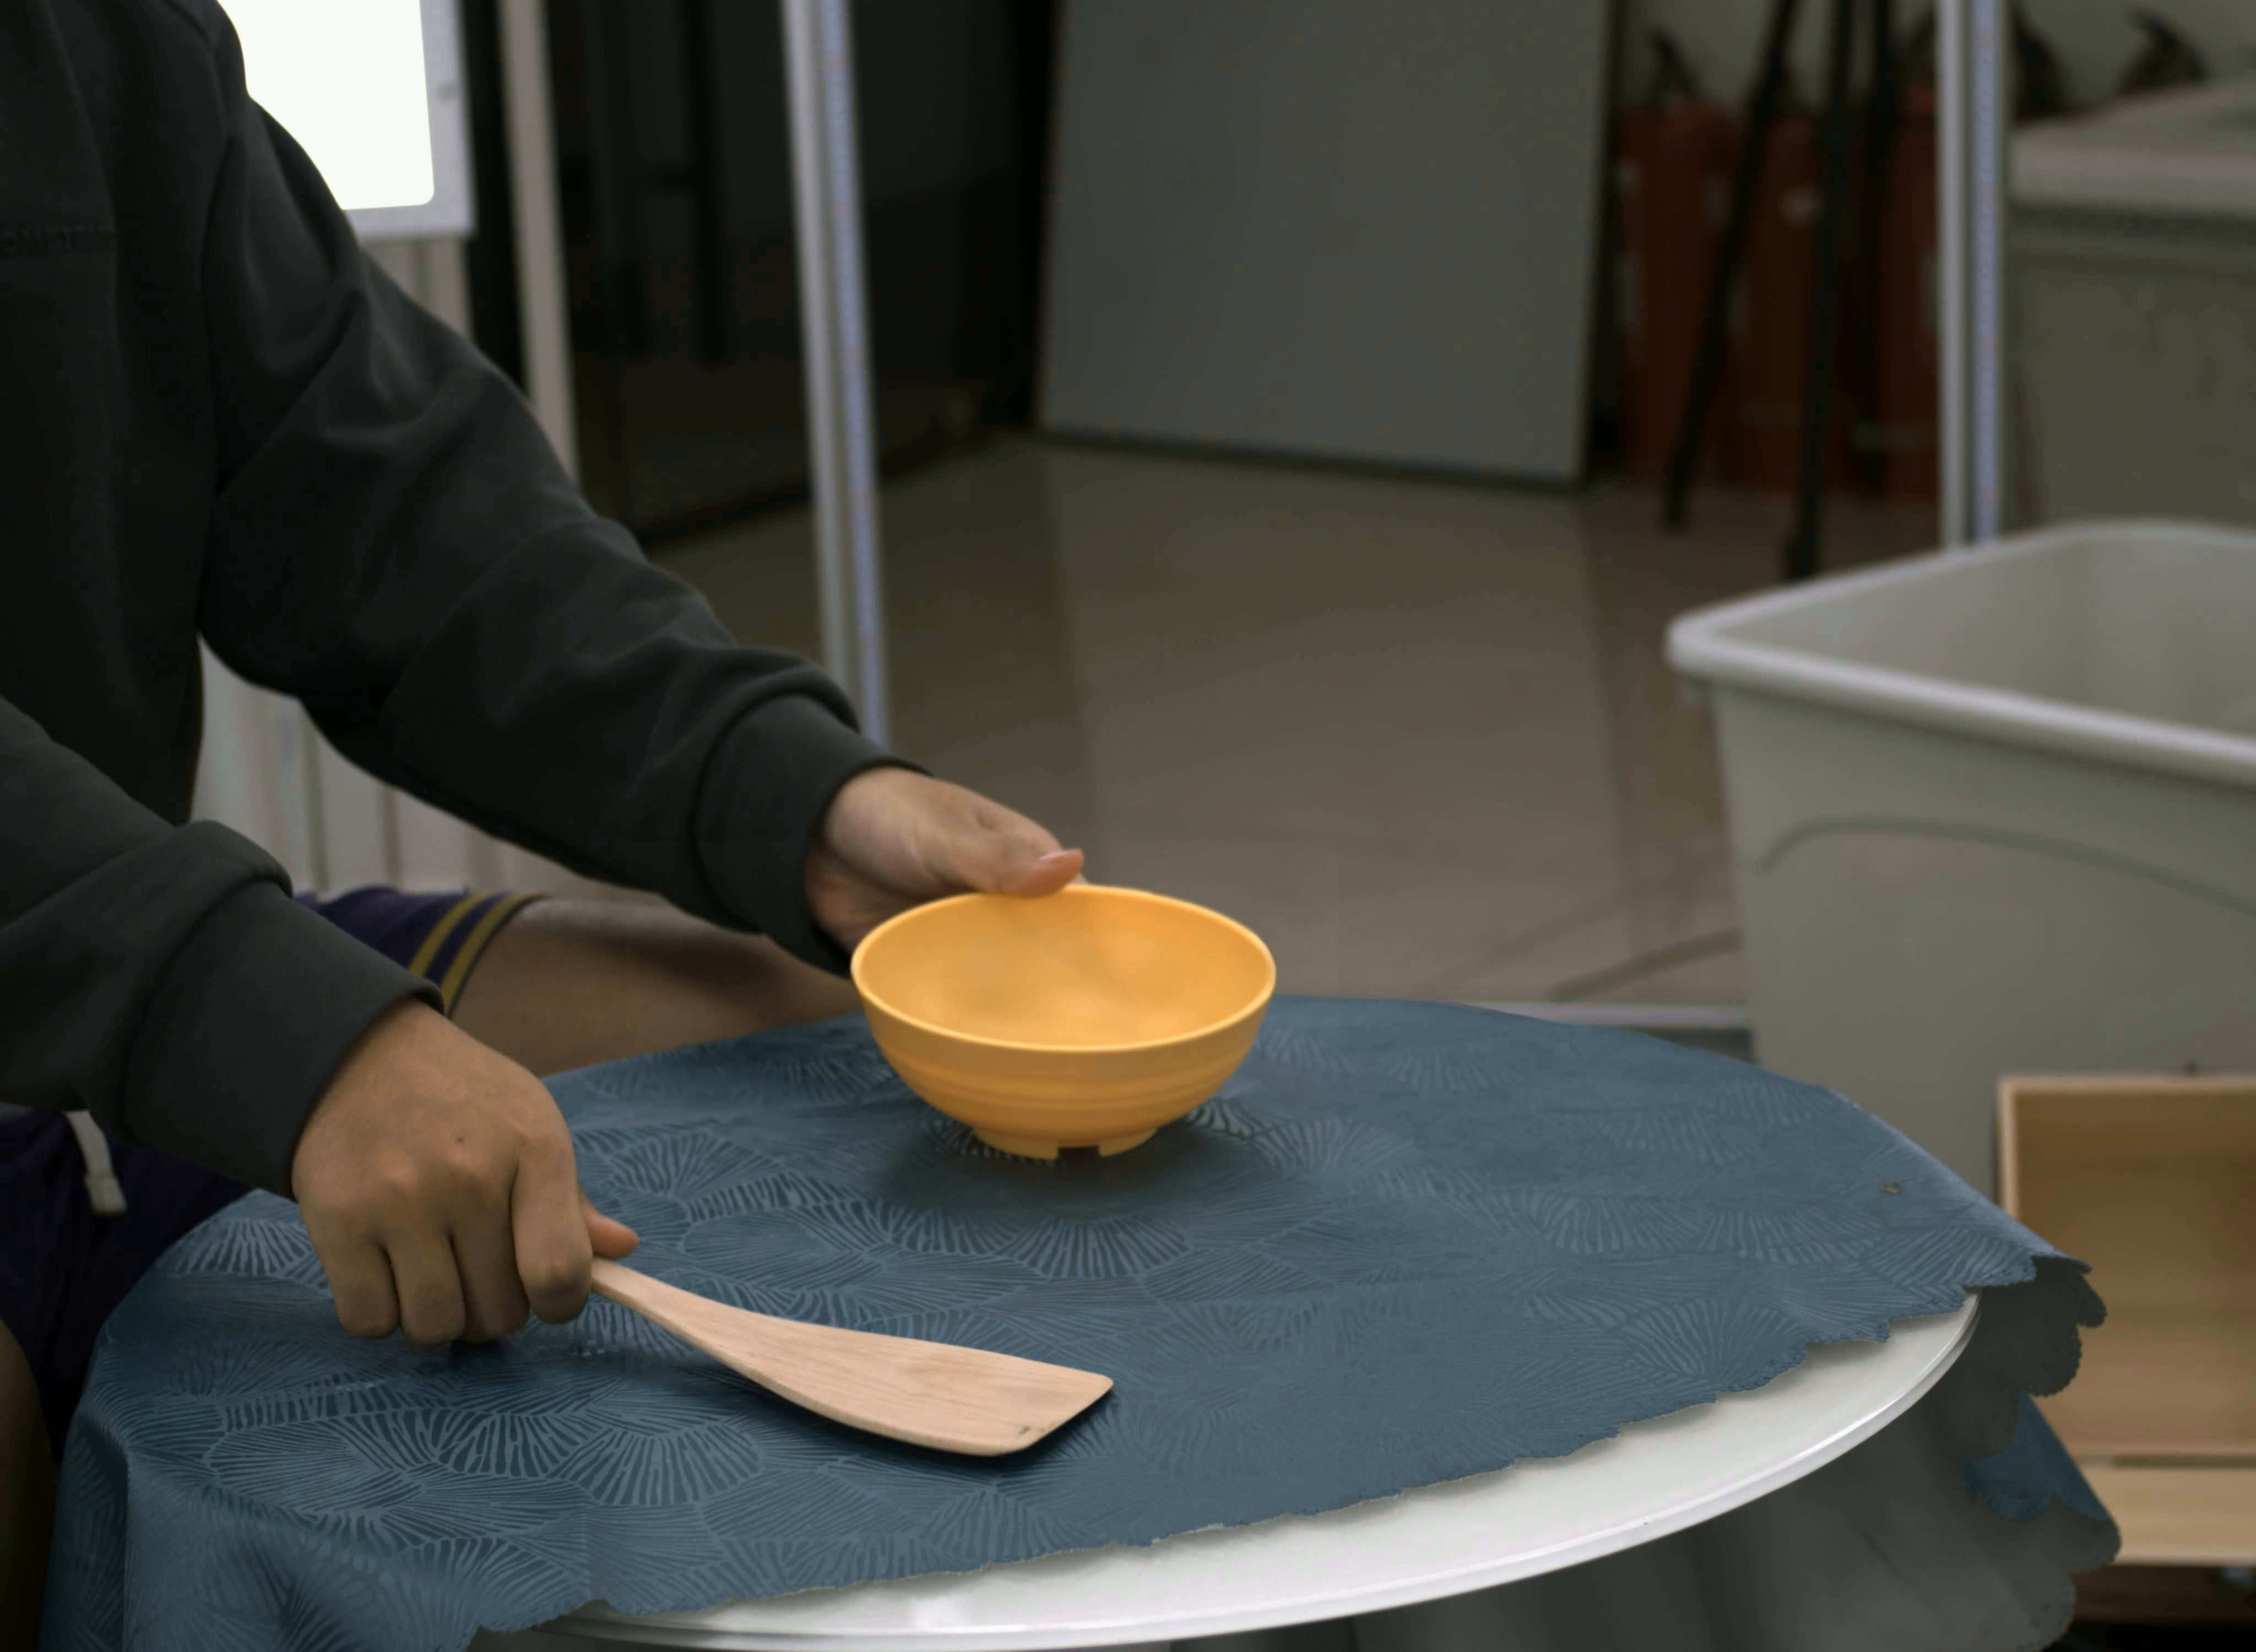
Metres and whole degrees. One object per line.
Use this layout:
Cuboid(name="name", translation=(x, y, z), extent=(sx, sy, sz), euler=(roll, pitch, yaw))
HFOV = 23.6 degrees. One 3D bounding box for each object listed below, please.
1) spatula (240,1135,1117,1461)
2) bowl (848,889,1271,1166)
Cuboid(name="spatula", translation=(-0.144, 0.138, 1.635), extent=(0.329, 0.017, 0.078), euler=(17, 20, 32))
Cuboid(name="bowl", translation=(-0.024, 0.075, 1.825), extent=(0.143, 0.061, 0.146), euler=(2, 20, -2))
